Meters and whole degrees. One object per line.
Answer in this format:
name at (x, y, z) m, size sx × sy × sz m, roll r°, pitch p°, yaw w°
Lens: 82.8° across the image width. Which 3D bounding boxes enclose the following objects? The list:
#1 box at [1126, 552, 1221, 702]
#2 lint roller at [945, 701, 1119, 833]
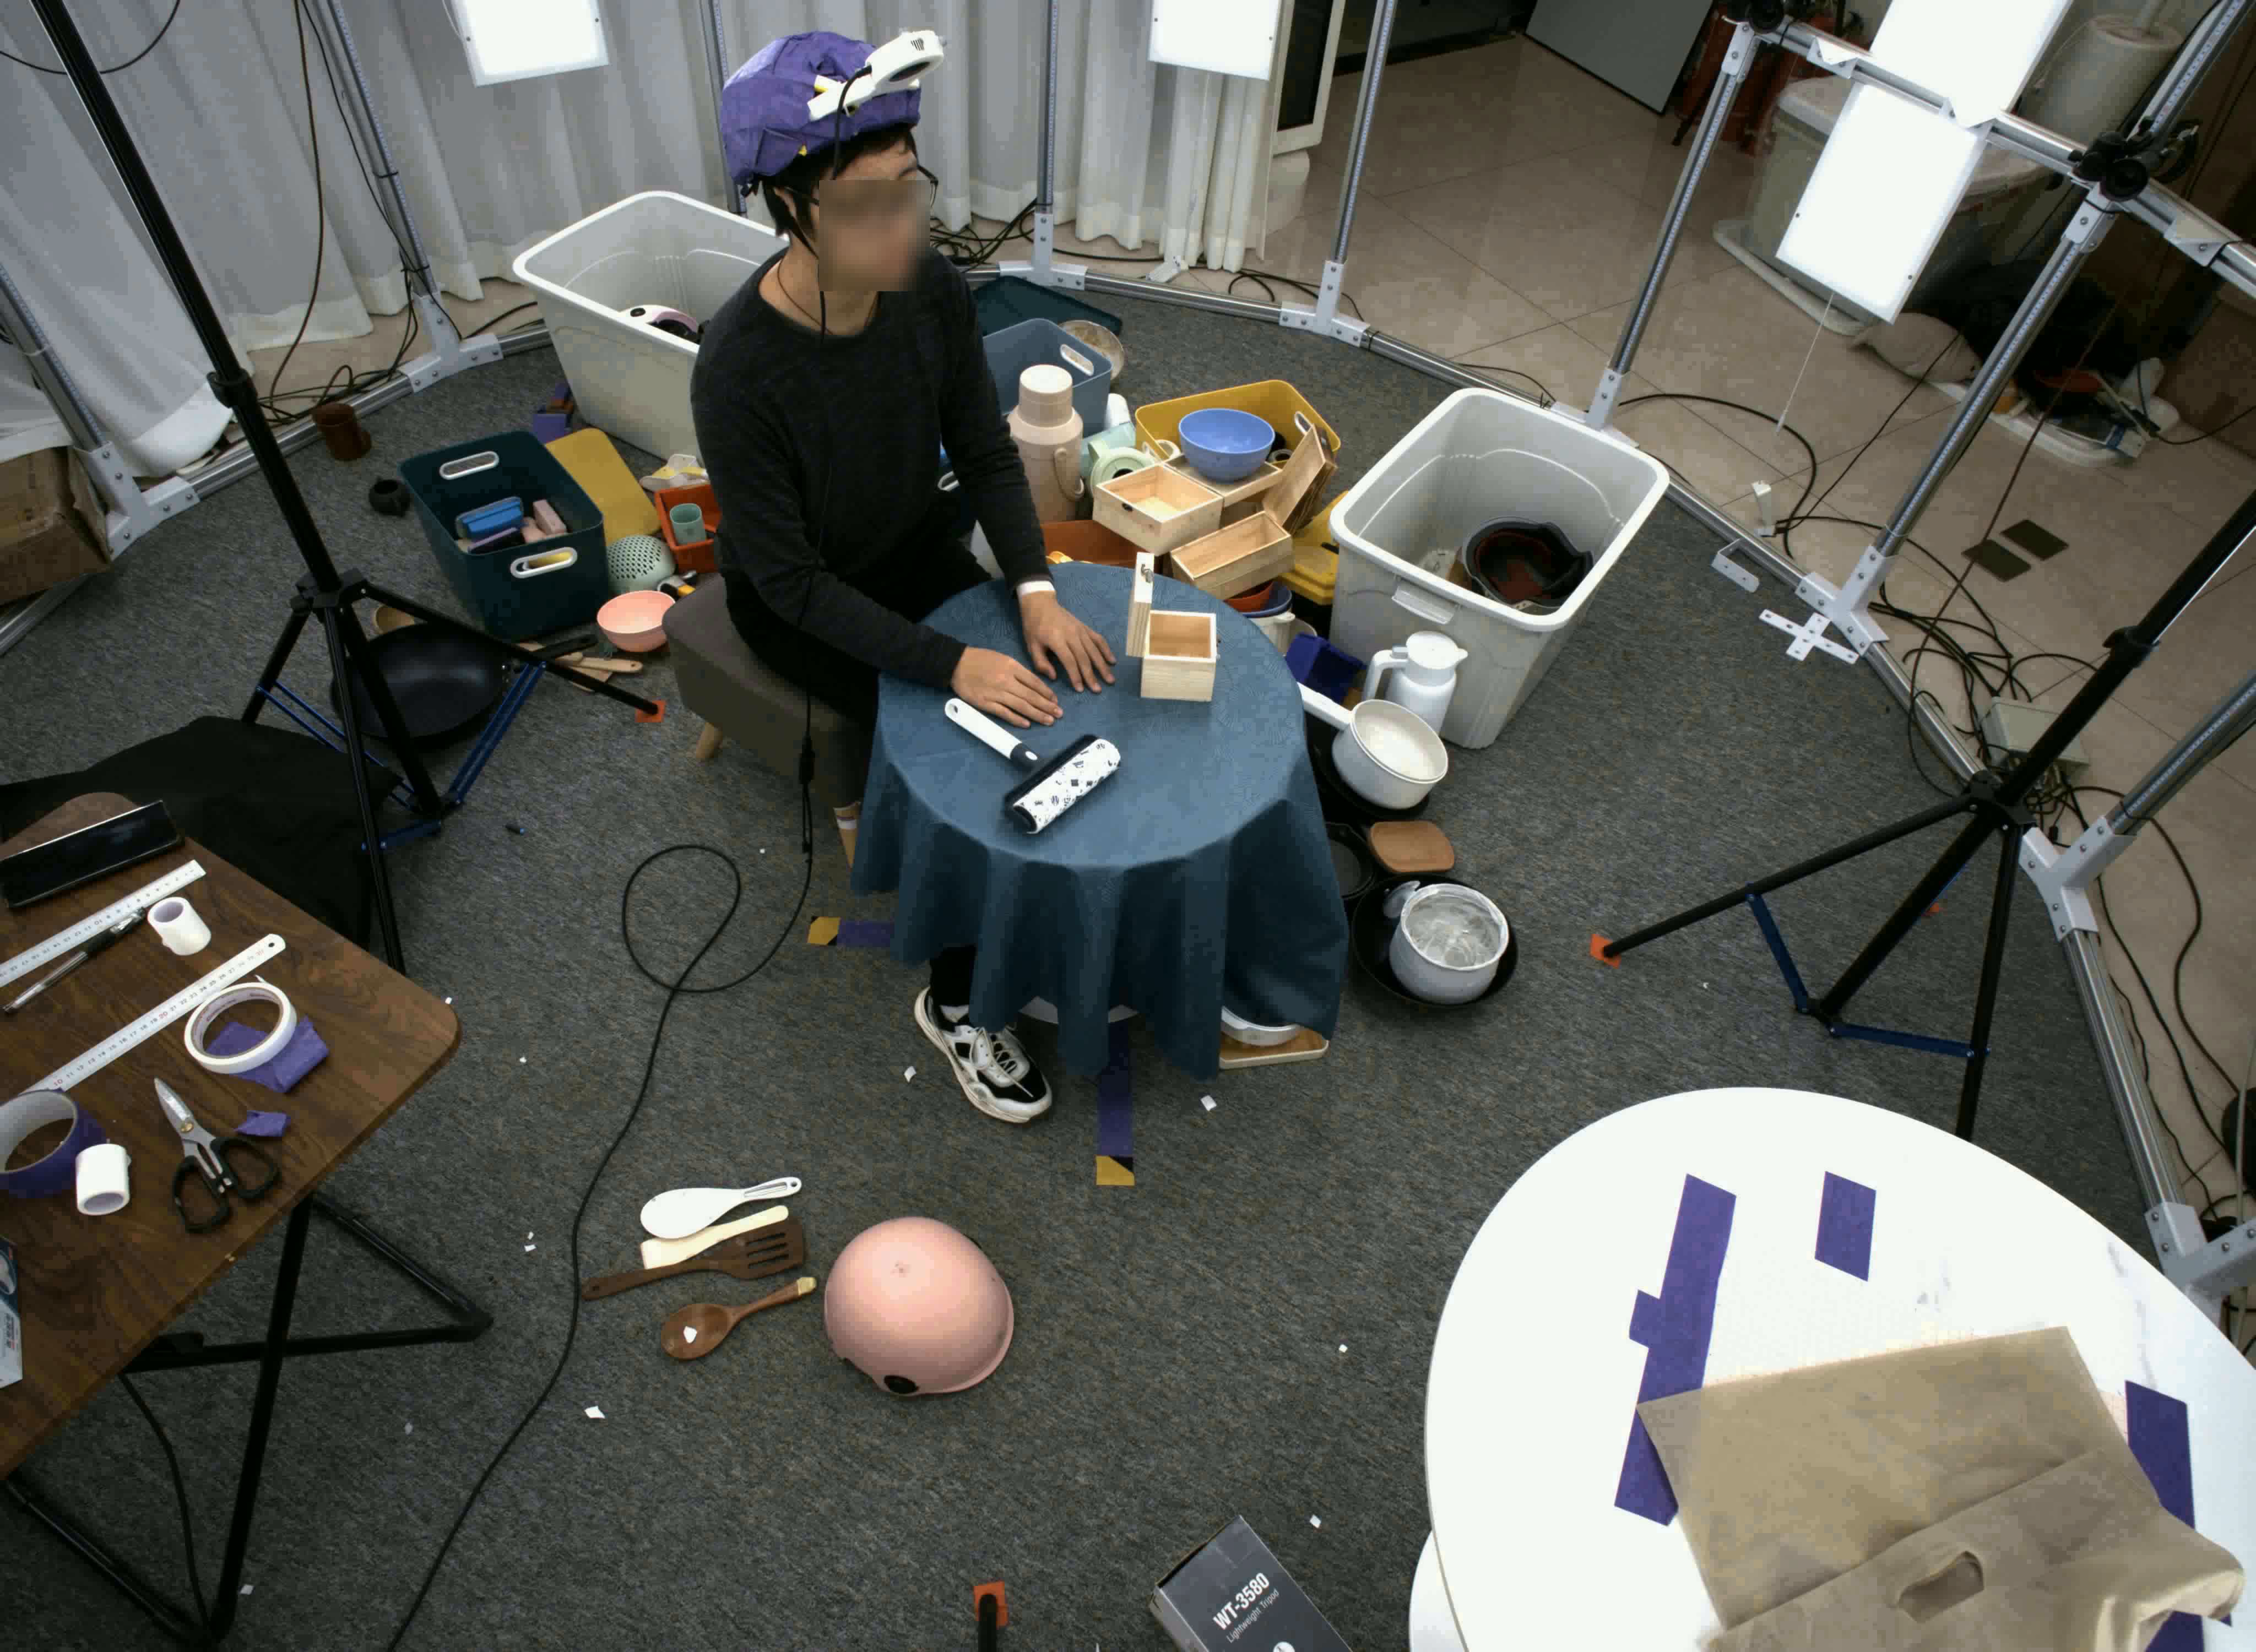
box at (0.065, -0.277, 1.797) m, size 0.134 × 0.180 × 0.105 m, roll 3°, pitch 49°, yaw -1°
lint roller at (-0.157, -0.106, 1.723) m, size 0.250 × 0.049 × 0.178 m, roll 34°, pitch 56°, yaw 25°
